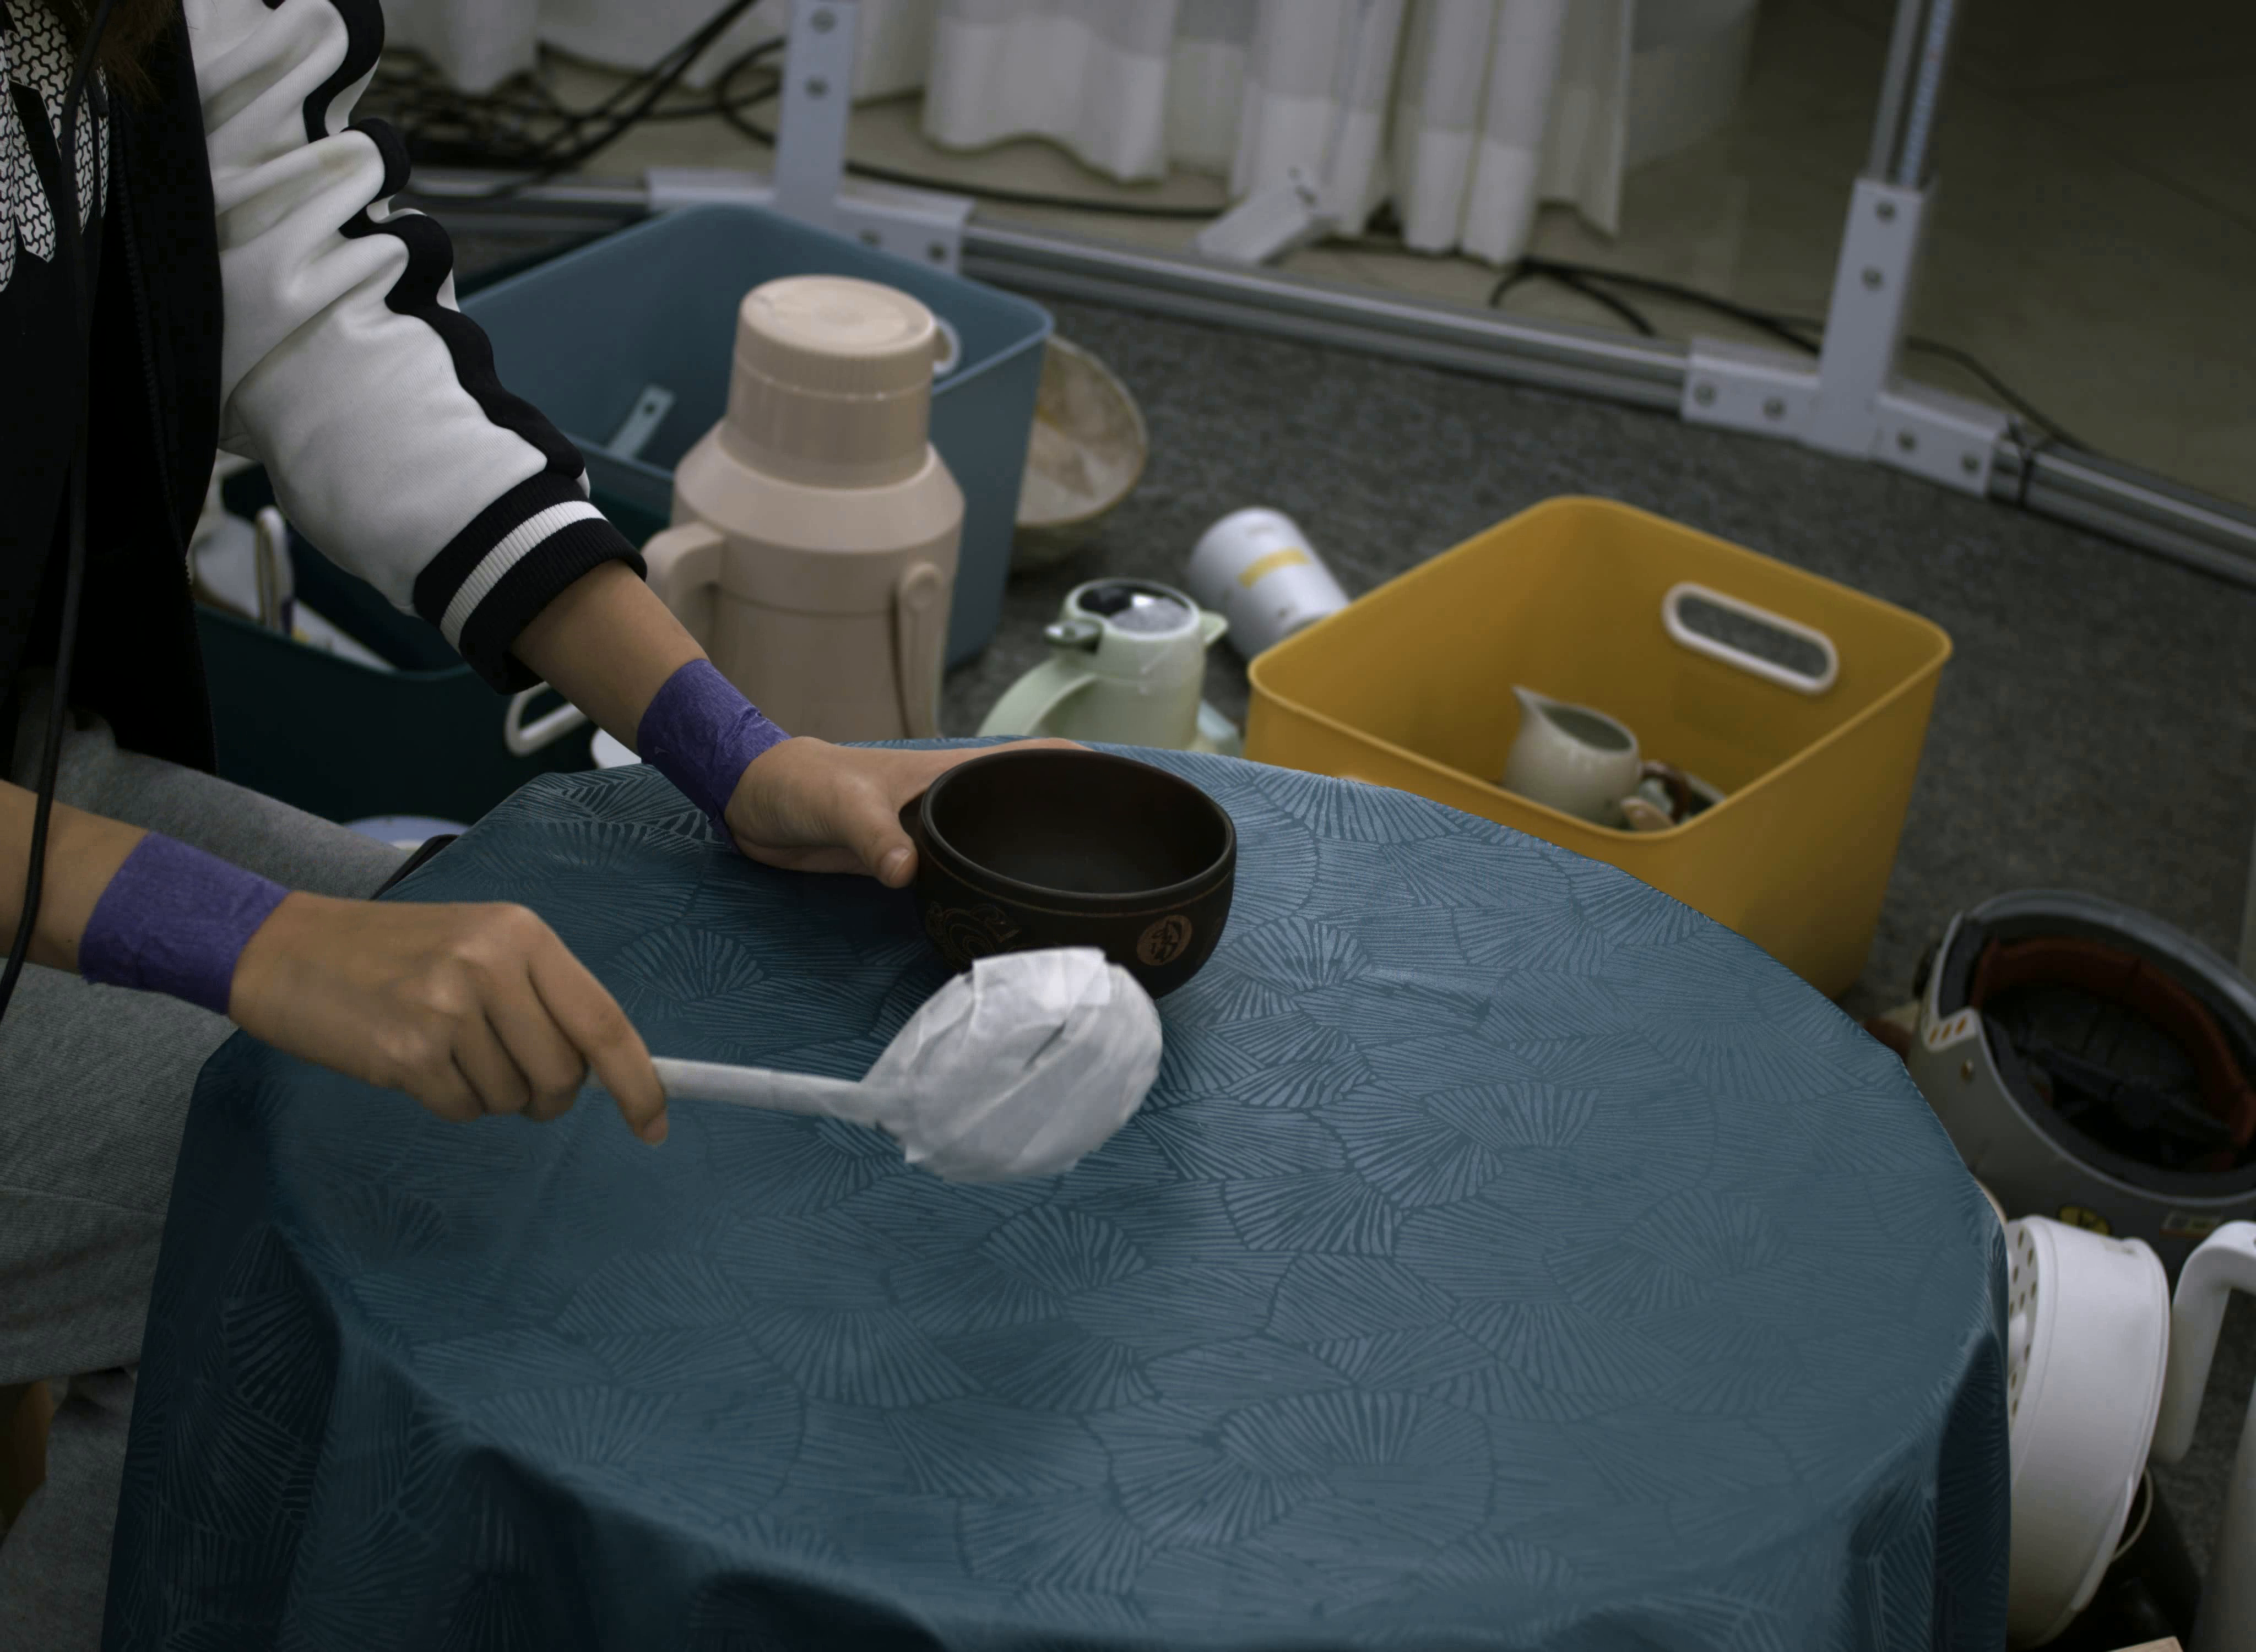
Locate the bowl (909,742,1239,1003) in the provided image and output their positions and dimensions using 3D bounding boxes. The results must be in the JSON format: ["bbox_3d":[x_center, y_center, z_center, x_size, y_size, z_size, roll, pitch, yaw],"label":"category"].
[{"bbox_3d":[-0.021,0.026,1.907,0.117,0.069,0.119,5,27,-3],"label":"bowl"}]

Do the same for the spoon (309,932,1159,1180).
[{"bbox_3d":[-0.129,0.069,1.724,0.278,0.100,0.059,4,36,18],"label":"spoon"}]
